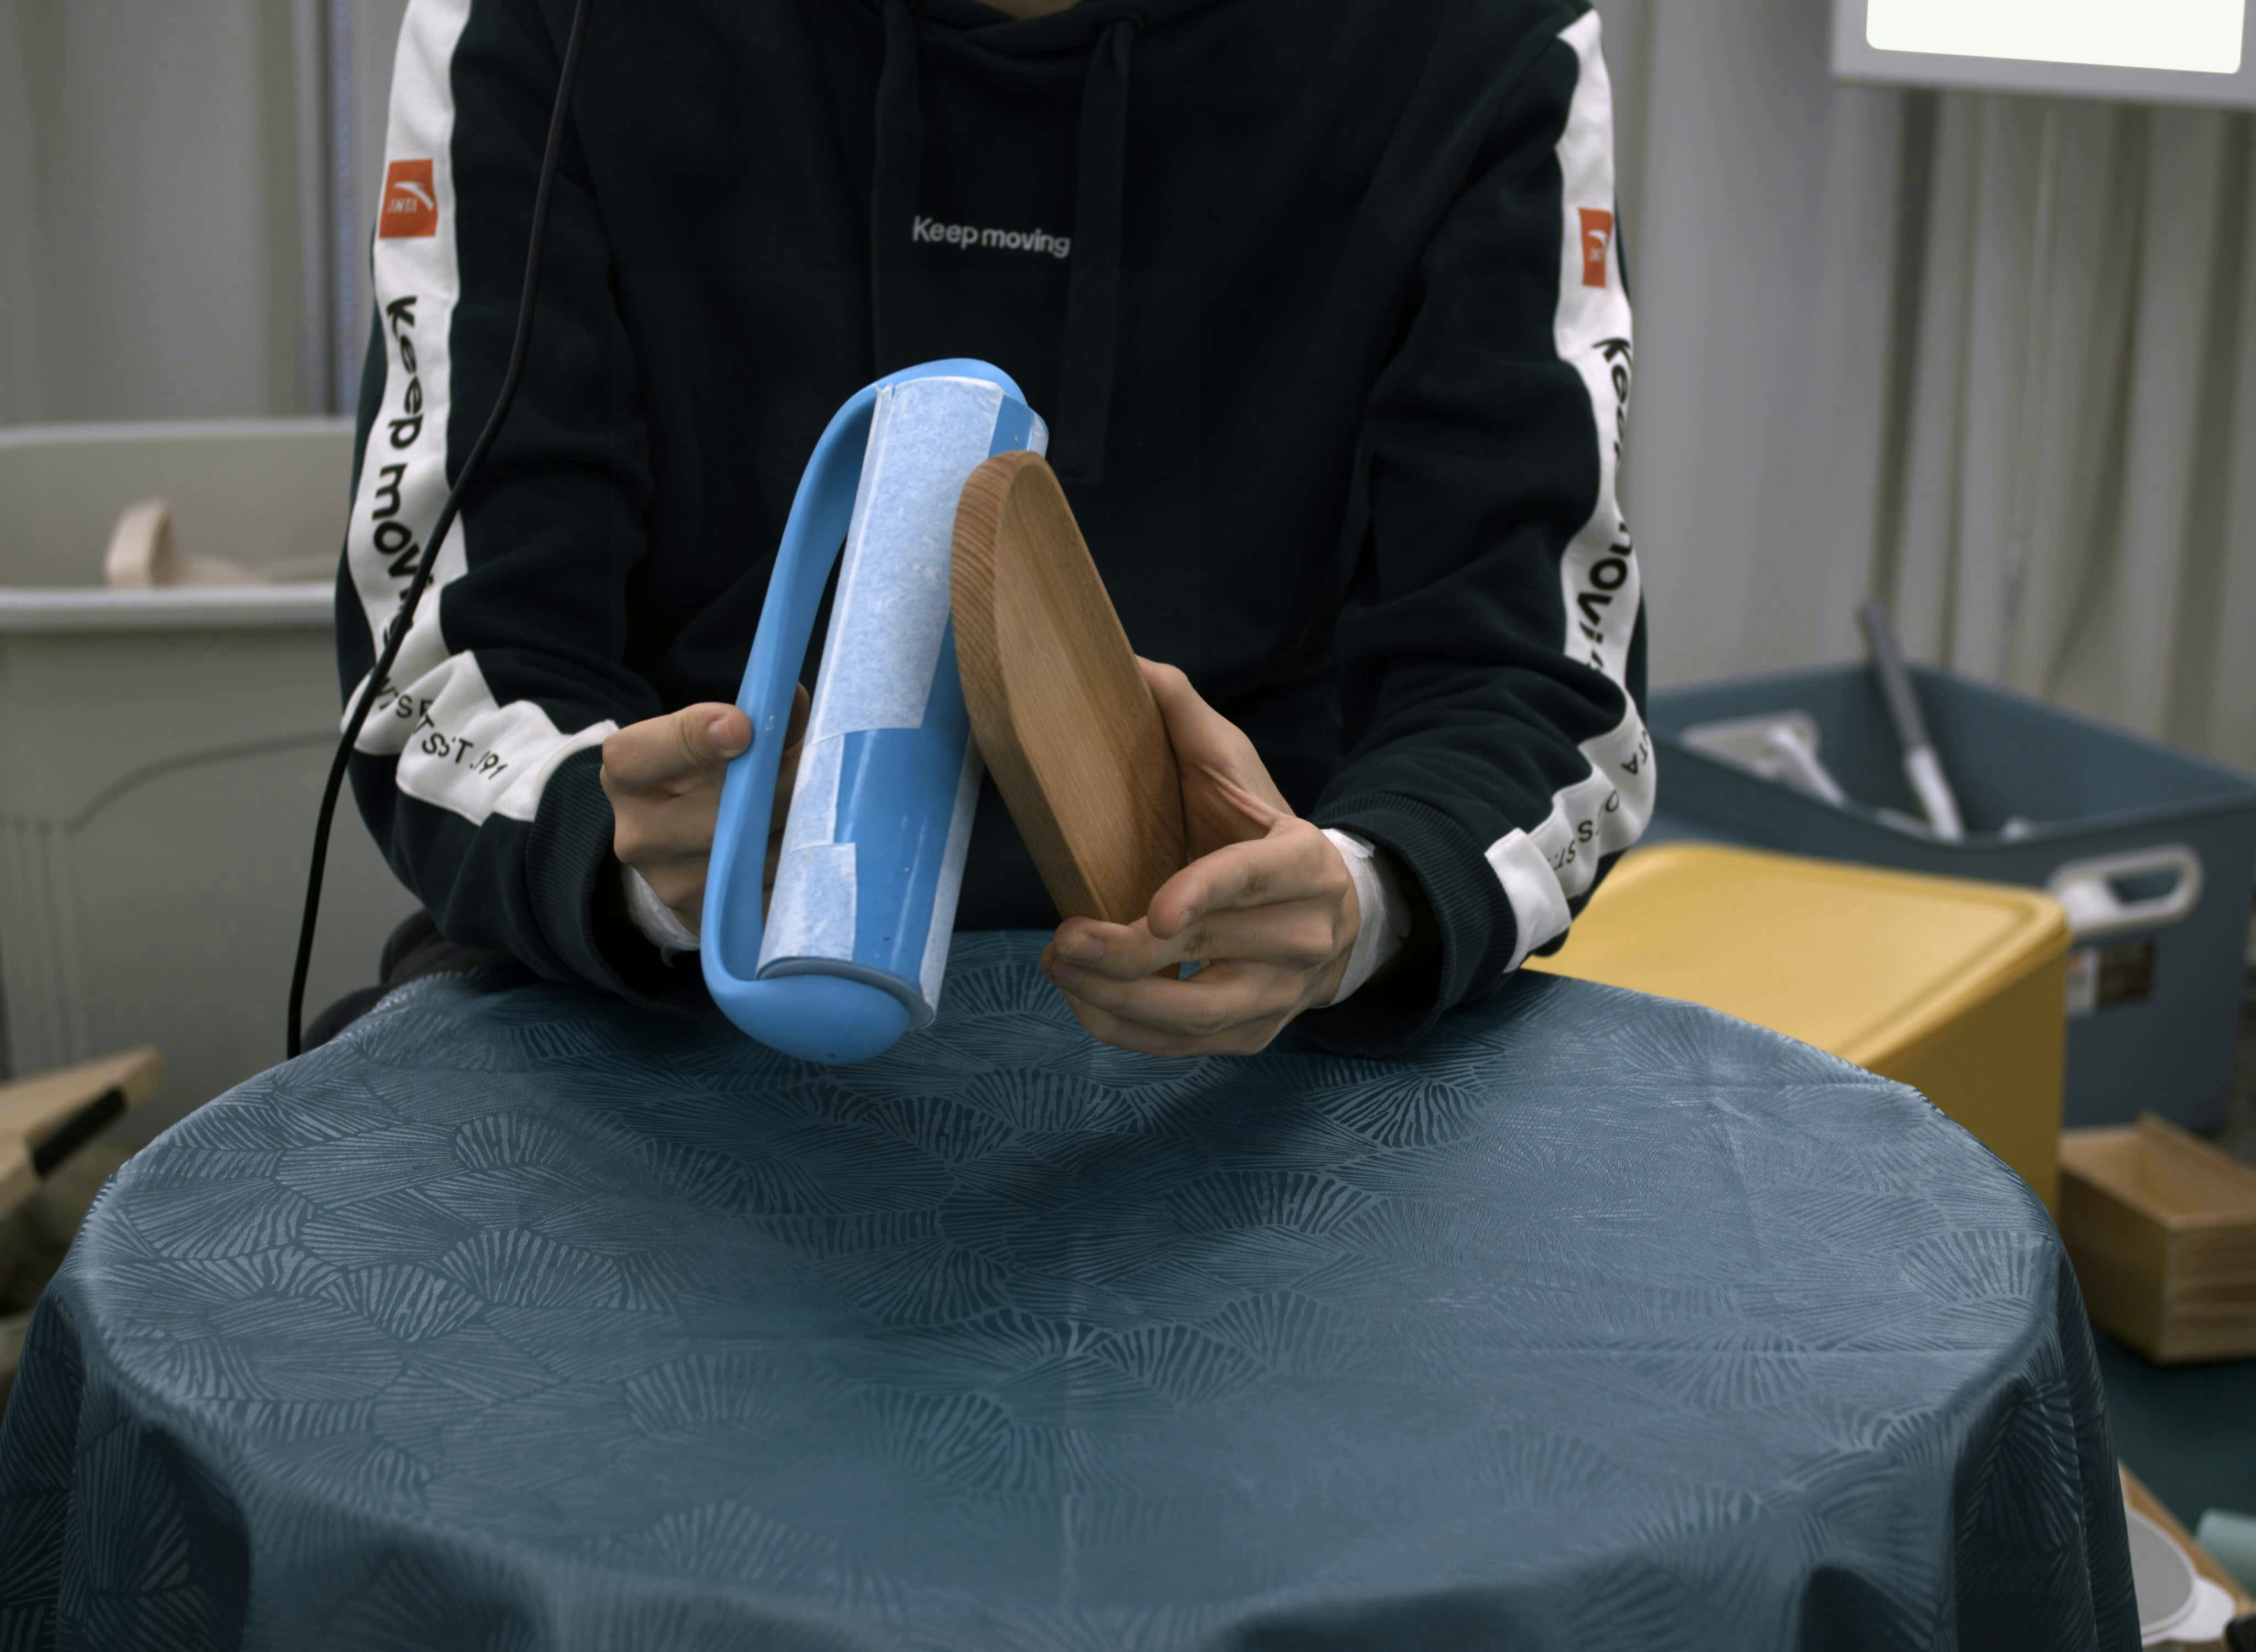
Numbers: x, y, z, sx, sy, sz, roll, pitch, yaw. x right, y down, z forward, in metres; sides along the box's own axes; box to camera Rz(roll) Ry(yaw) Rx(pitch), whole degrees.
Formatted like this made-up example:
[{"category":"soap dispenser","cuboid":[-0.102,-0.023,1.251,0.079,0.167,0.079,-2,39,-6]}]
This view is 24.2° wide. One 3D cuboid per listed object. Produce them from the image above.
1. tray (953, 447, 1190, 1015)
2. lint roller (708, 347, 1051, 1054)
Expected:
[{"category":"tray","cuboid":[-0.015,-0.025,1.581,0.020,0.234,0.101,-2,59,14]},{"category":"lint roller","cuboid":[-0.090,-0.018,1.594,0.068,0.228,0.180,18,-28,-19]}]
